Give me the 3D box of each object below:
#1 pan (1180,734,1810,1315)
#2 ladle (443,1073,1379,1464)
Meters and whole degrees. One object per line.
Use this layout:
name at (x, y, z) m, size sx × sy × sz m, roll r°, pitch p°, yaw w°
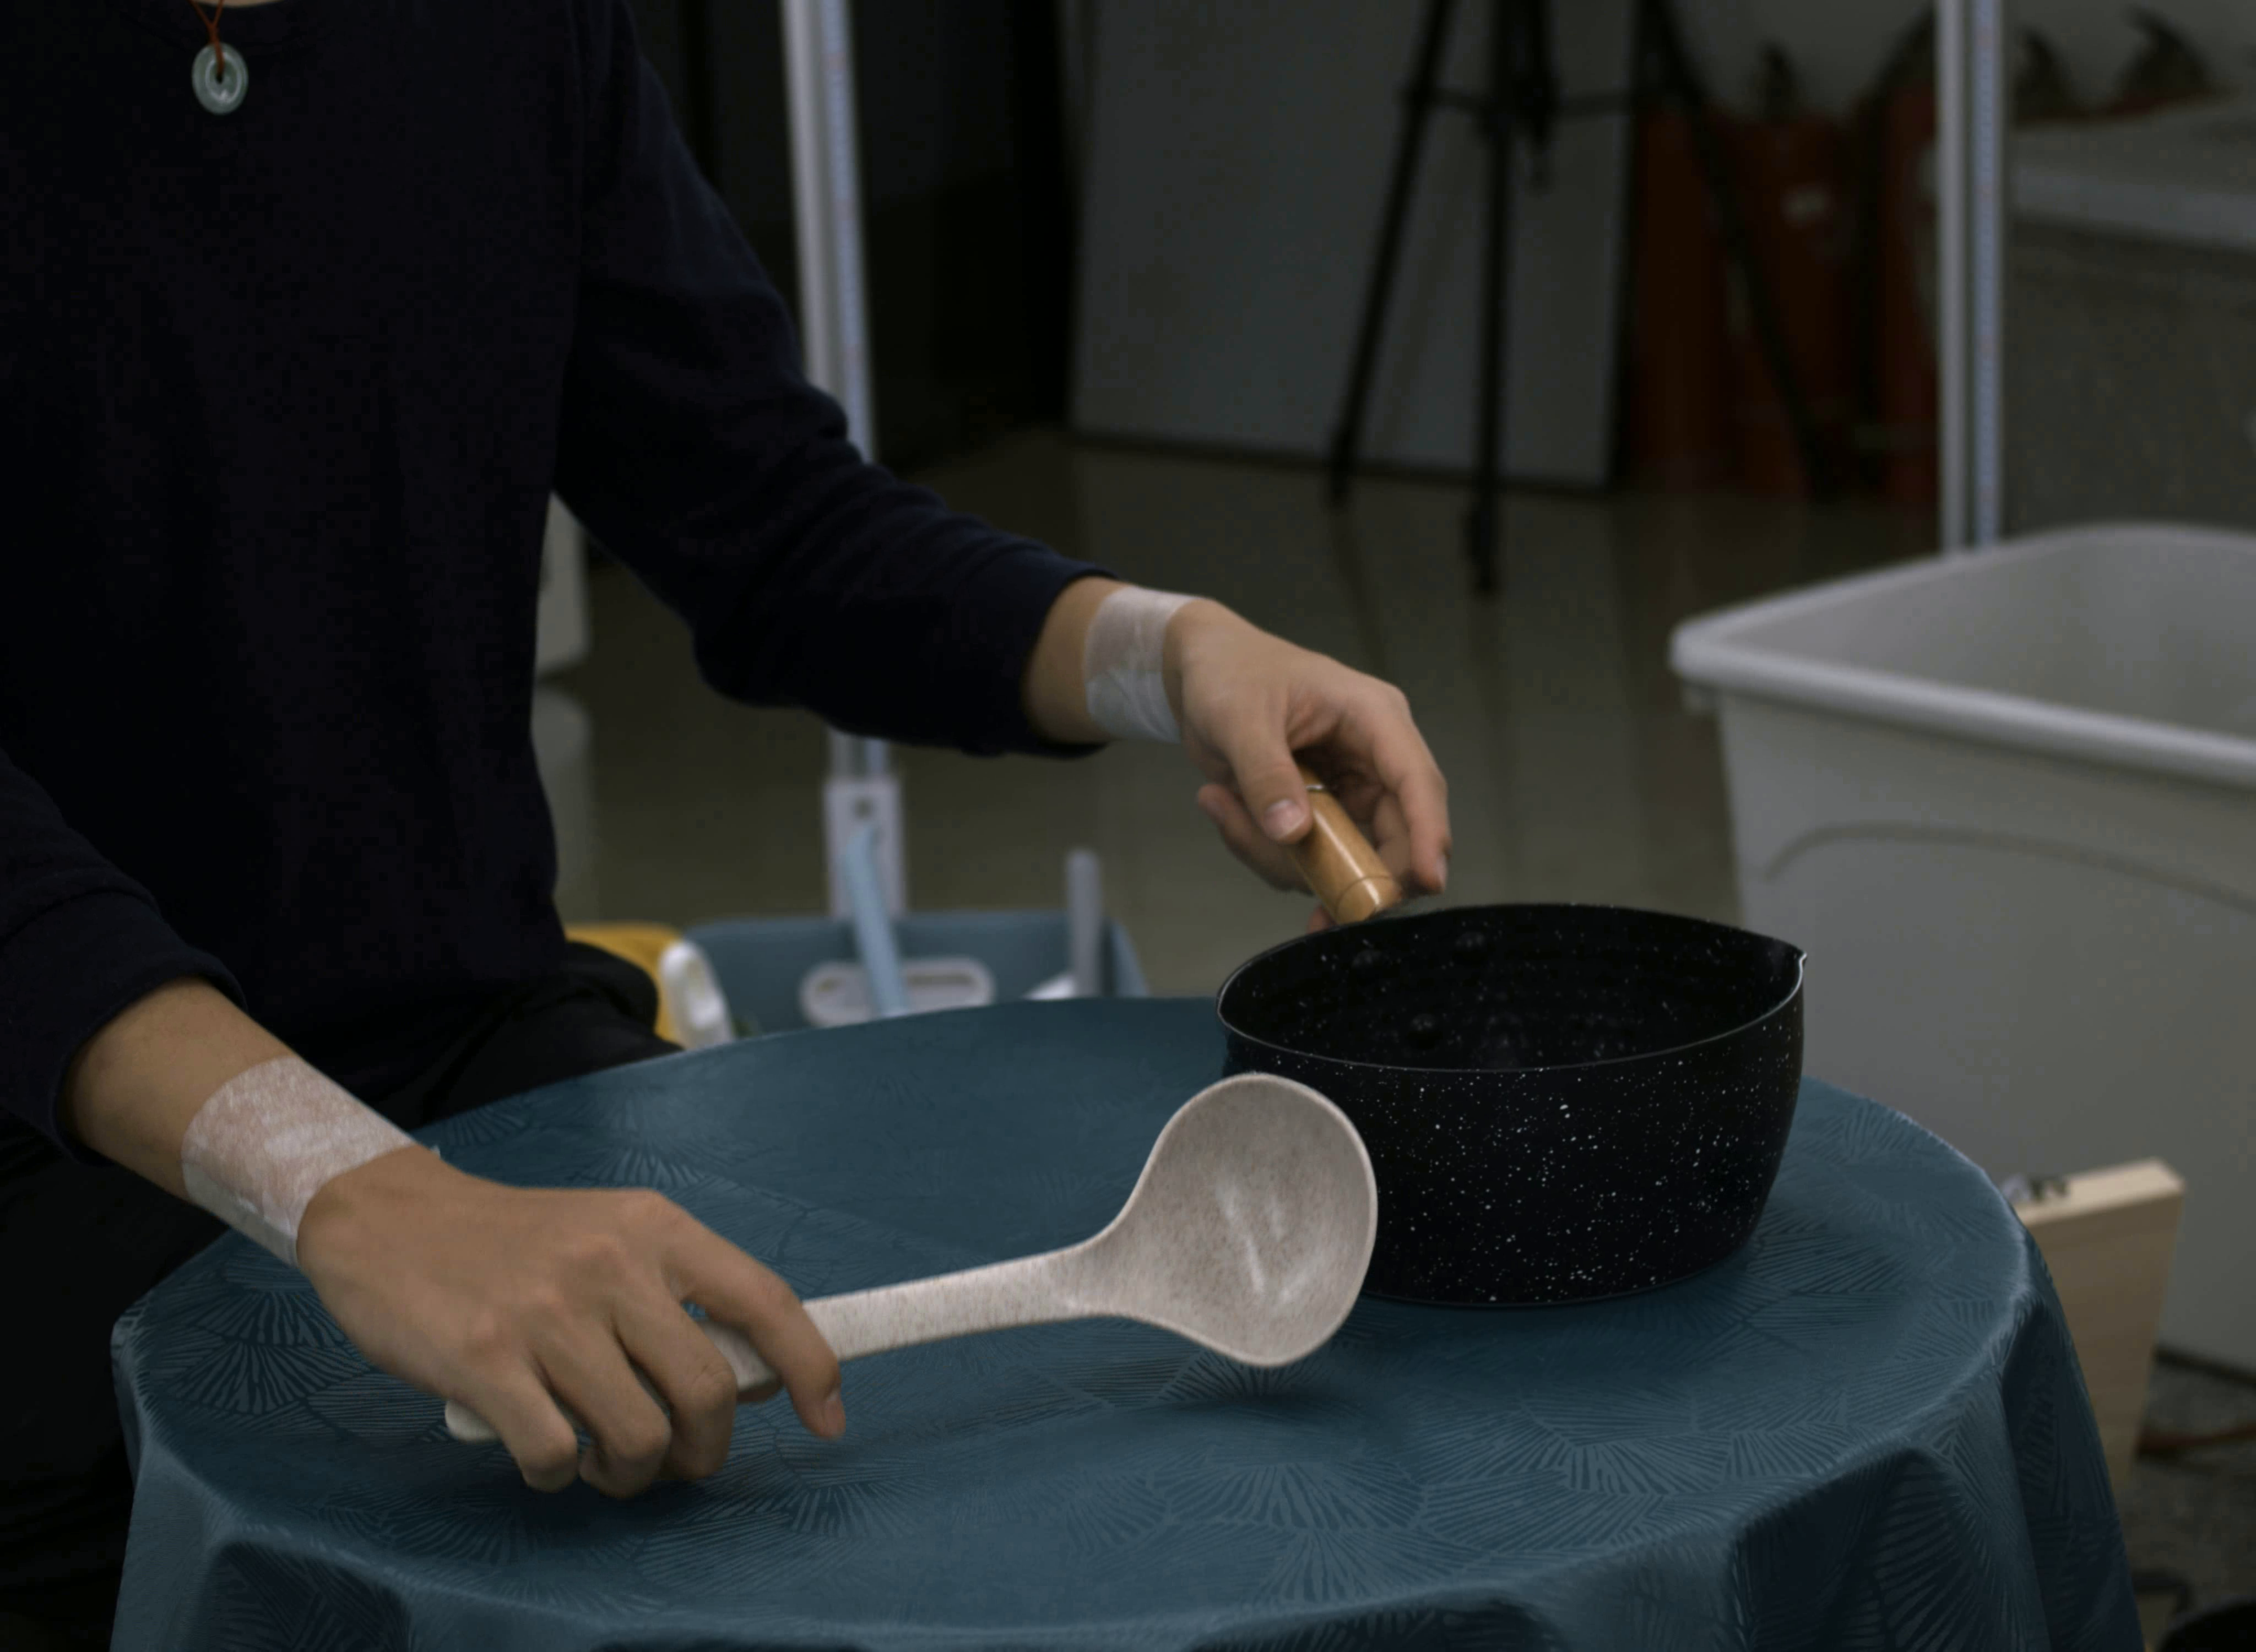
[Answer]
pan at (0.098, 0.059, 1.764) m, size 0.203 × 0.109 × 0.345 m, roll -9°, pitch 16°, yaw -15°
ladle at (-0.059, 0.135, 1.534) m, size 0.269 × 0.090 × 0.070 m, roll -11°, pitch -20°, yaw -22°
